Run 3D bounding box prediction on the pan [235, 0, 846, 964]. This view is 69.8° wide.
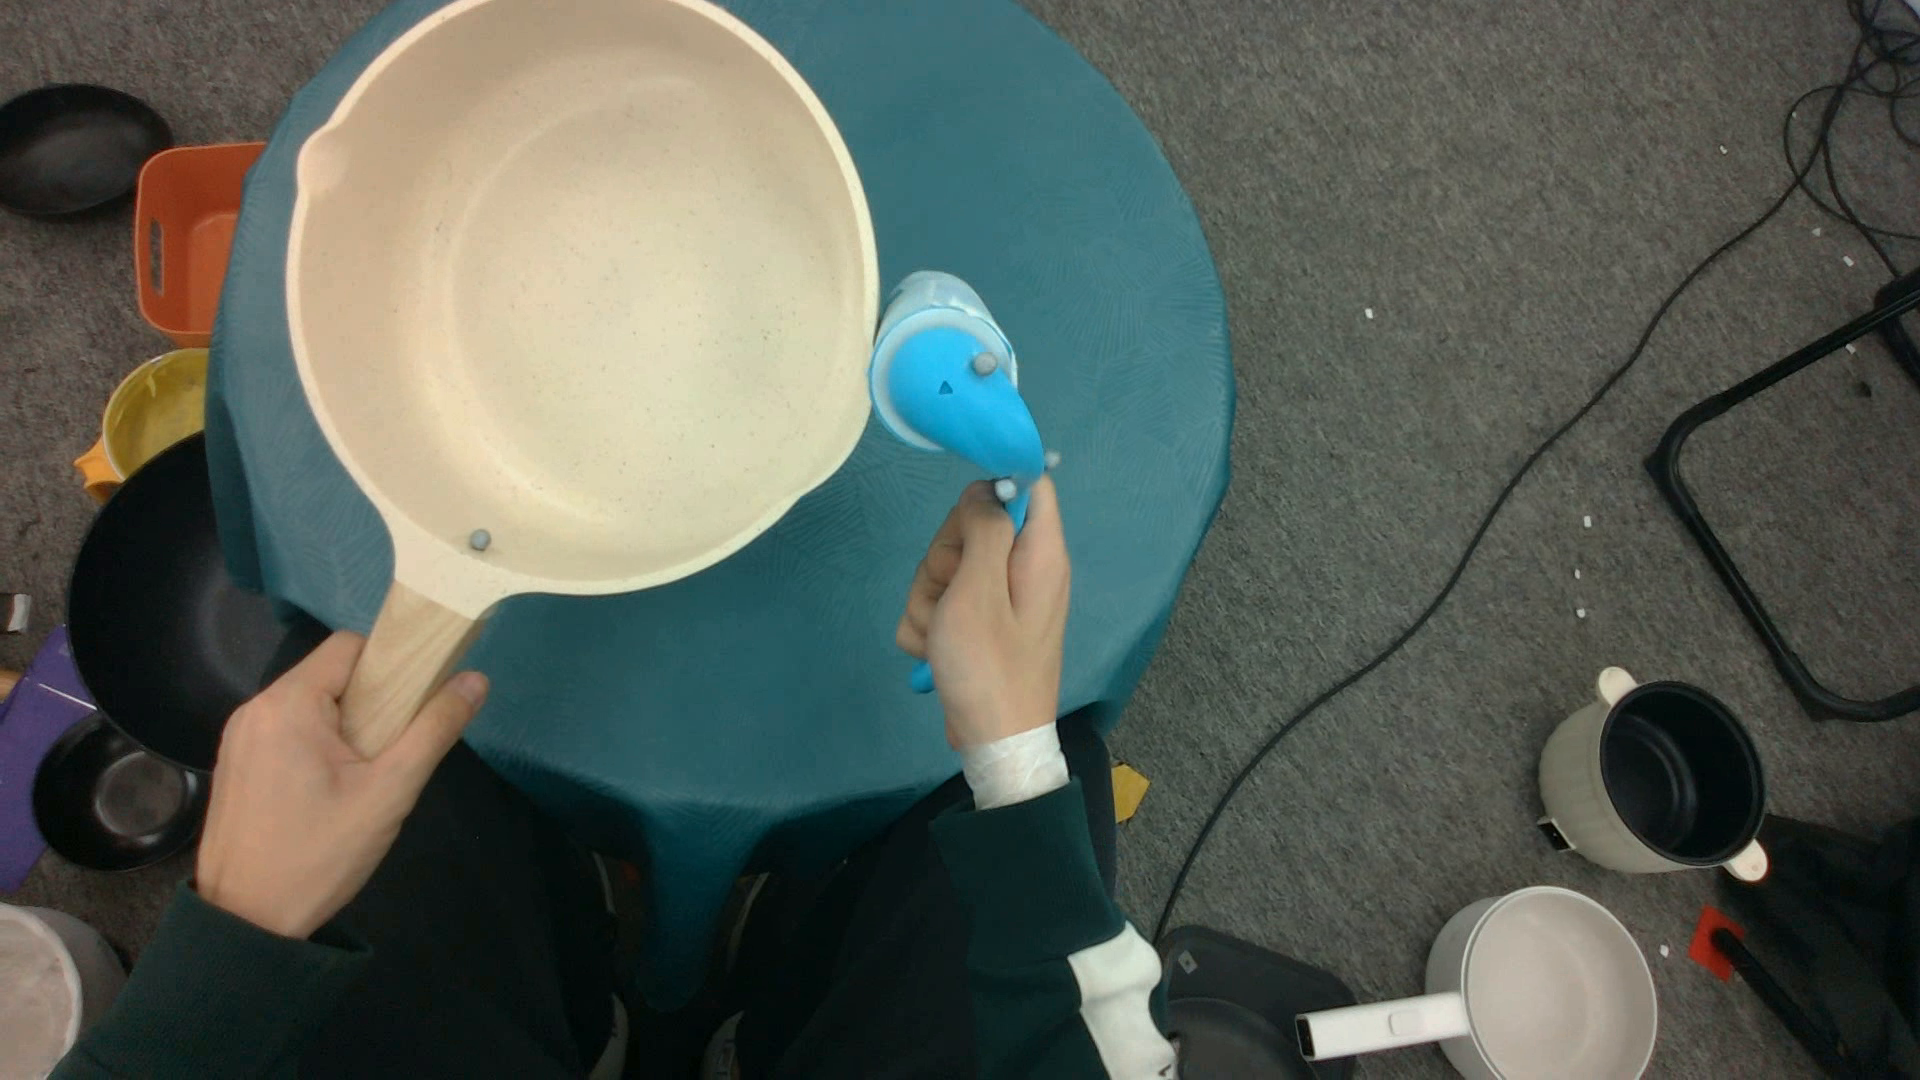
[{"bbox_3d":[-0.206,-0.025,0.605,0.263,0.102,0.434,25,96,2],"label":"pan"}]

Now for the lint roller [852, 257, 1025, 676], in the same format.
[{"bbox_3d":[-0.012,-0.030,0.602,0.068,0.229,0.180,-7,108,-4],"label":"lint roller"}]
